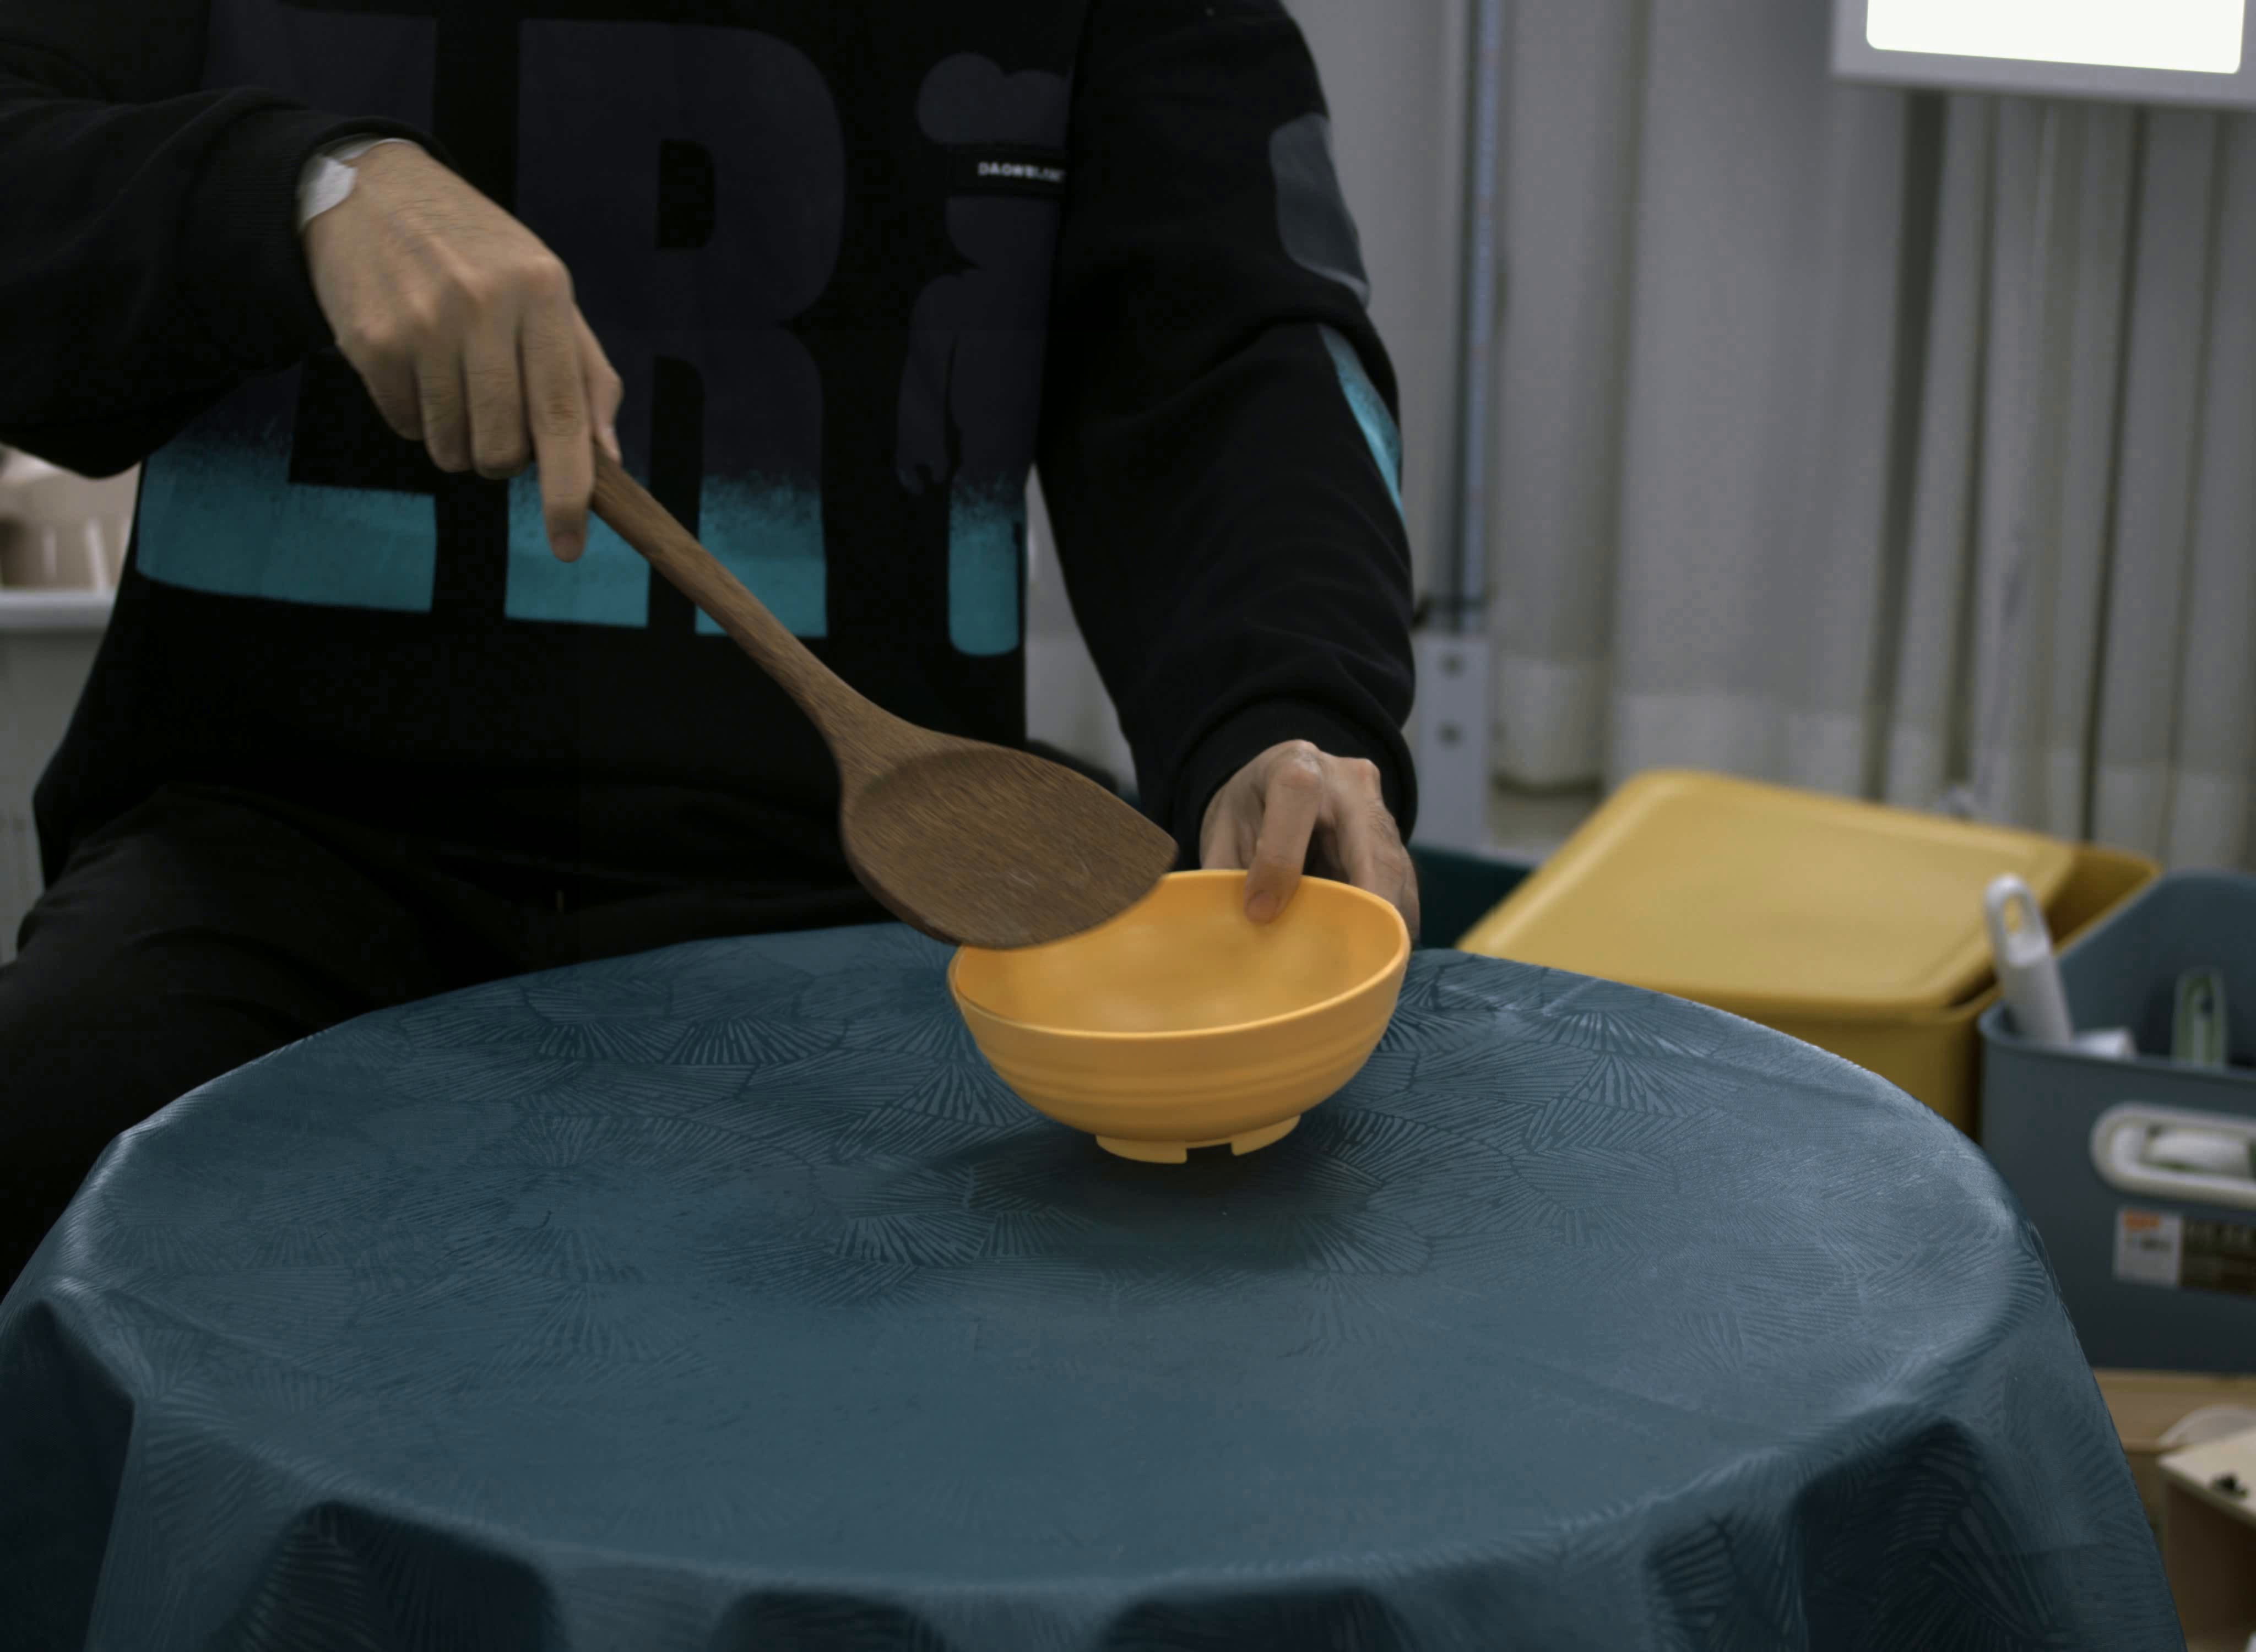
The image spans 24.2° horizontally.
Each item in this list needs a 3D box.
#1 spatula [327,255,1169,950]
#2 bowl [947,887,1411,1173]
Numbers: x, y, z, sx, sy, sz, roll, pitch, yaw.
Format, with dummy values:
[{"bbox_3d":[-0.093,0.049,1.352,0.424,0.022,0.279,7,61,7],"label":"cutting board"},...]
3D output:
[{"bbox_3d":[-0.138,-0.081,1.677,0.096,0.016,0.381,-25,55,-37],"label":"spatula"},{"bbox_3d":[0.017,0.069,1.643,0.145,0.060,0.144,-2,17,1],"label":"bowl"}]
